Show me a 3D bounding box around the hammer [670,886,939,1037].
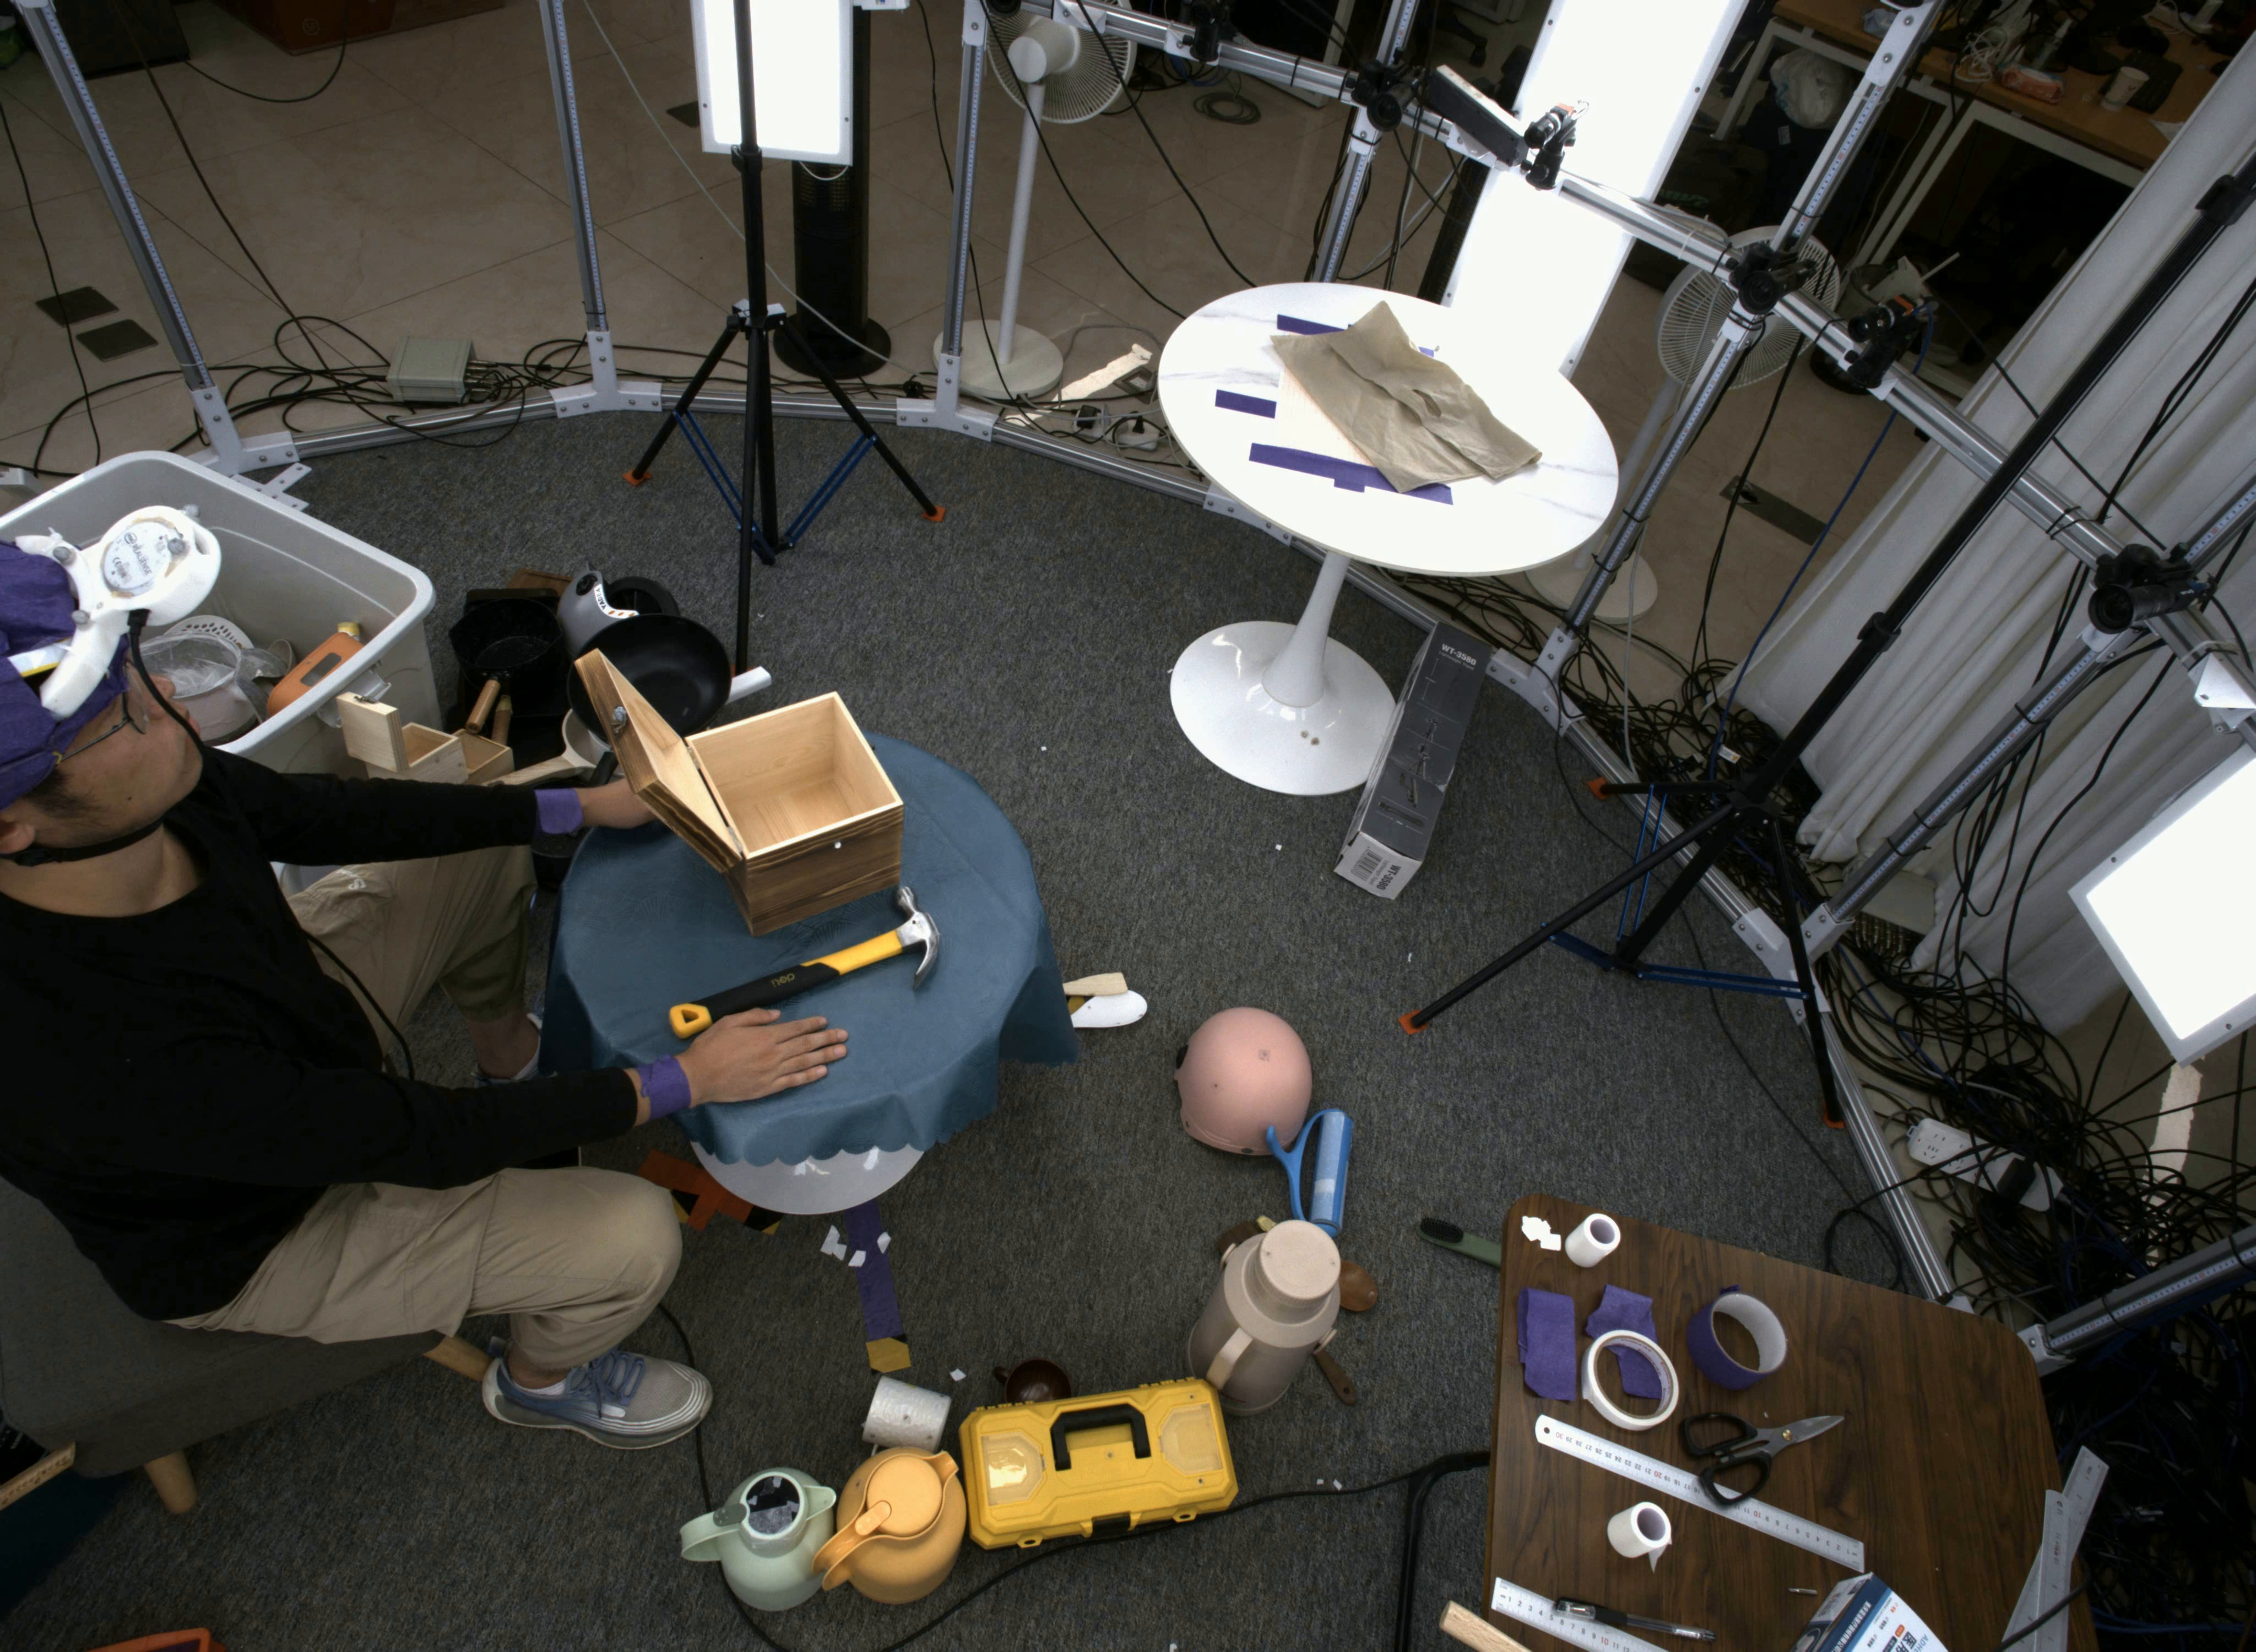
[{"bbox_3d":[-0.388,0.177,1.575,0.340,0.033,0.128,-19,61,-27],"label":"hammer"}]

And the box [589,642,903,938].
[{"bbox_3d":[-0.447,-0.059,1.529,0.323,0.383,0.203,-22,60,-26],"label":"box"}]
